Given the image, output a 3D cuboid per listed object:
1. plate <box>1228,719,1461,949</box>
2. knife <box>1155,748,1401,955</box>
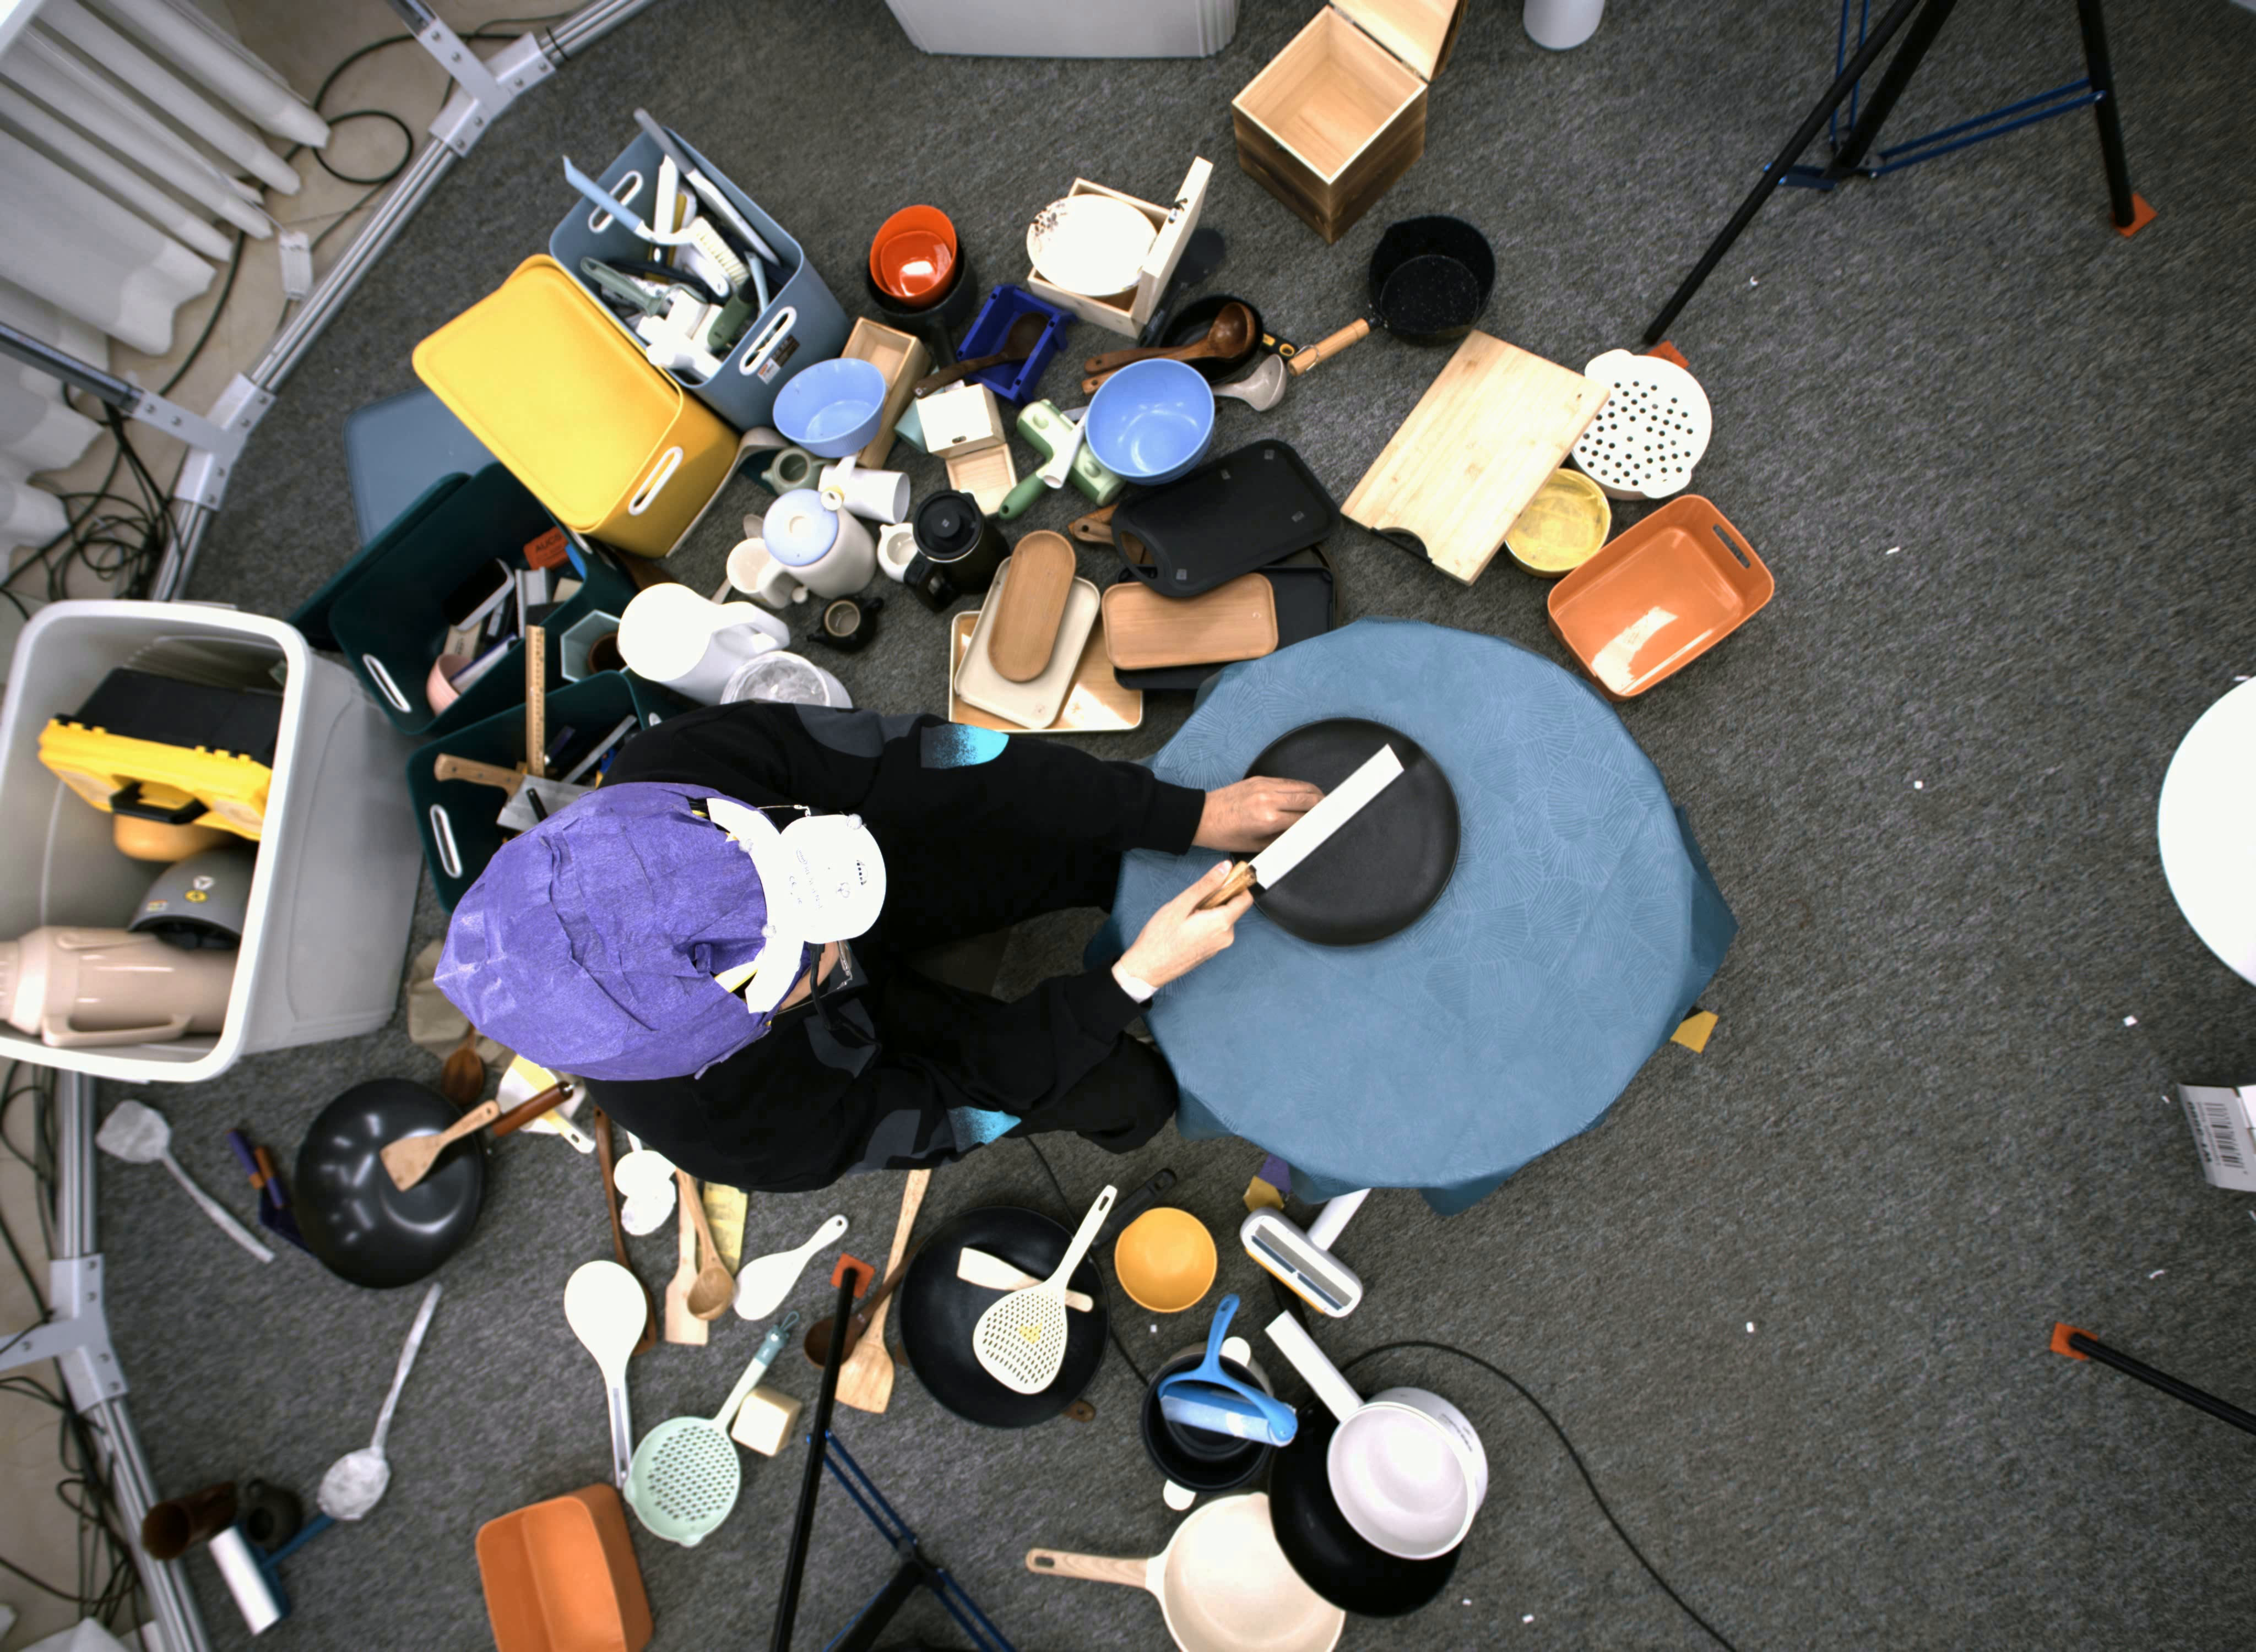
[{"bbox_3d":[0.228,0.007,1.459,0.245,0.023,0.243,-1,87,10],"label":"plate"},{"bbox_3d":[0.156,0.031,1.404,0.308,0.093,0.021,-41,65,9],"label":"knife"}]
